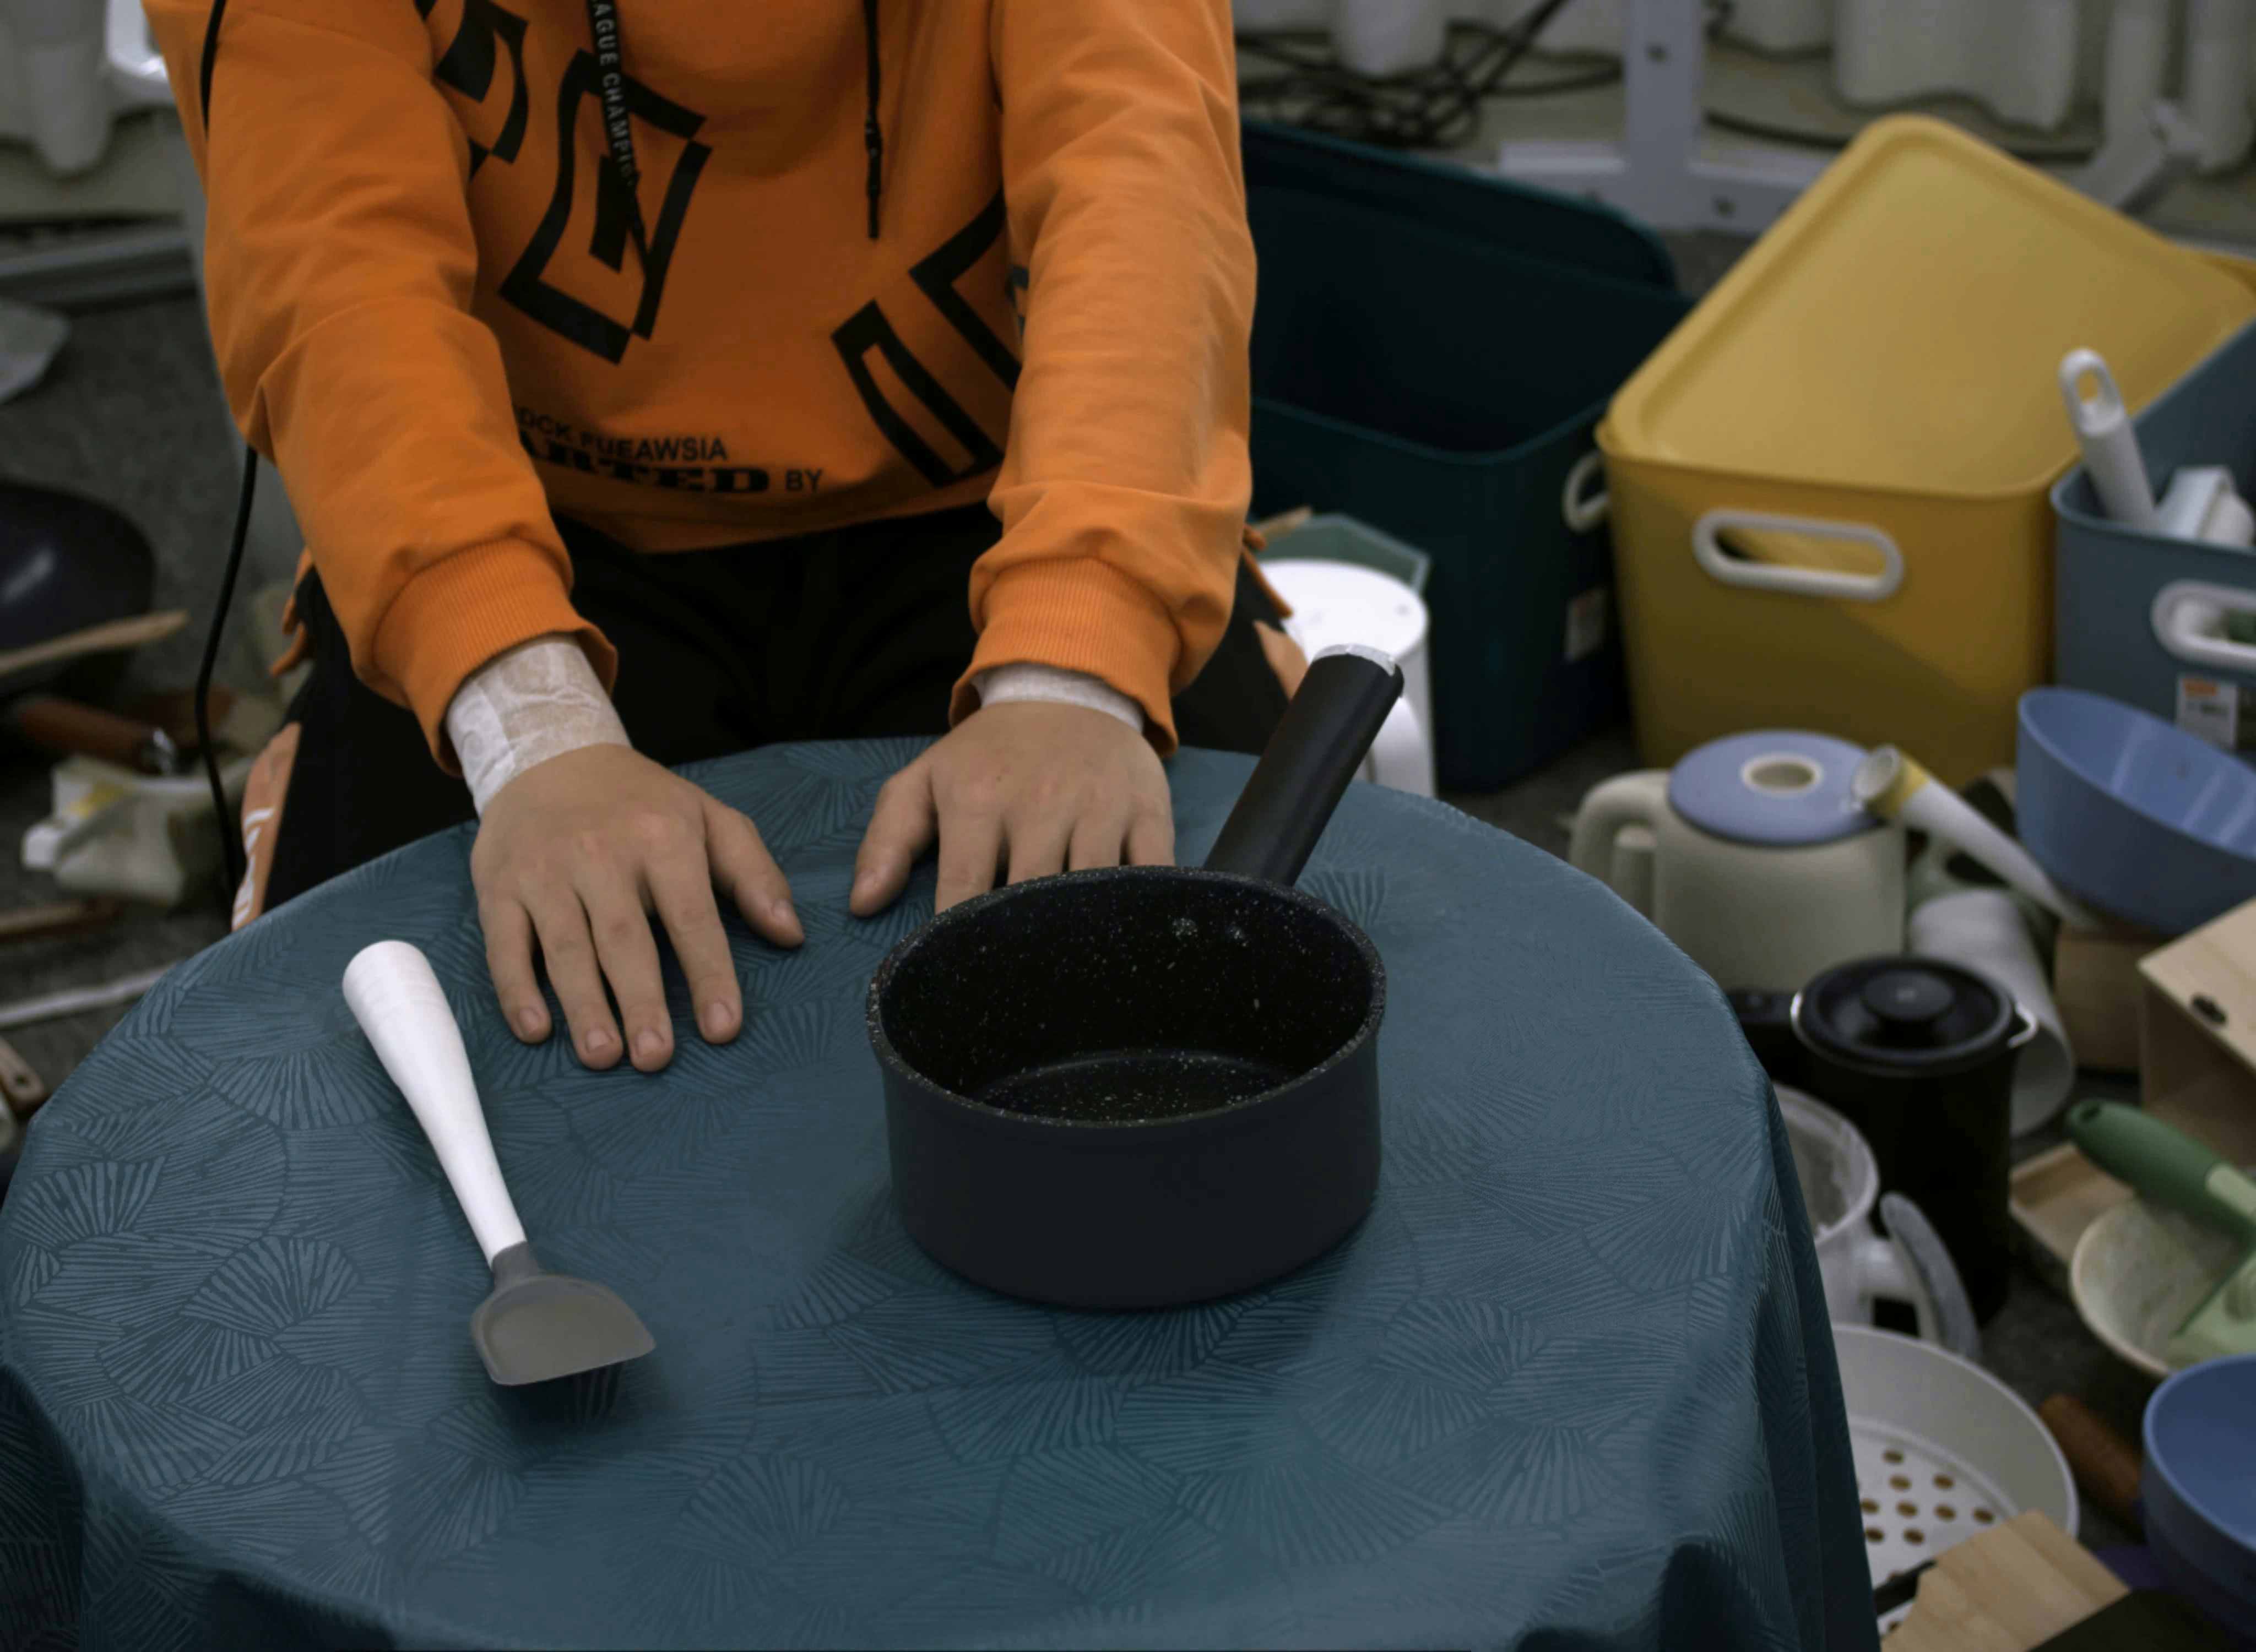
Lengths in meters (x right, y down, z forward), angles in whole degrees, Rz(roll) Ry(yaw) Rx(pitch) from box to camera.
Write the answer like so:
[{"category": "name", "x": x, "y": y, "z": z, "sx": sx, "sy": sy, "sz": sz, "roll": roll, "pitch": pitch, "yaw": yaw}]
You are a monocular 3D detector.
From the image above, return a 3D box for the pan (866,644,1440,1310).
[{"category": "pan", "x": 0.032, "y": 0.047, "z": 1.912, "sx": 0.171, "sy": 0.085, "sz": 0.334, "roll": 9, "pitch": 31, "yaw": 21}]

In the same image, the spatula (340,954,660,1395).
[{"category": "spatula", "x": -0.214, "y": 0.119, "z": 1.856, "sx": 0.059, "sy": 0.032, "sz": 0.290, "roll": -9, "pitch": 27, "yaw": -17}]
